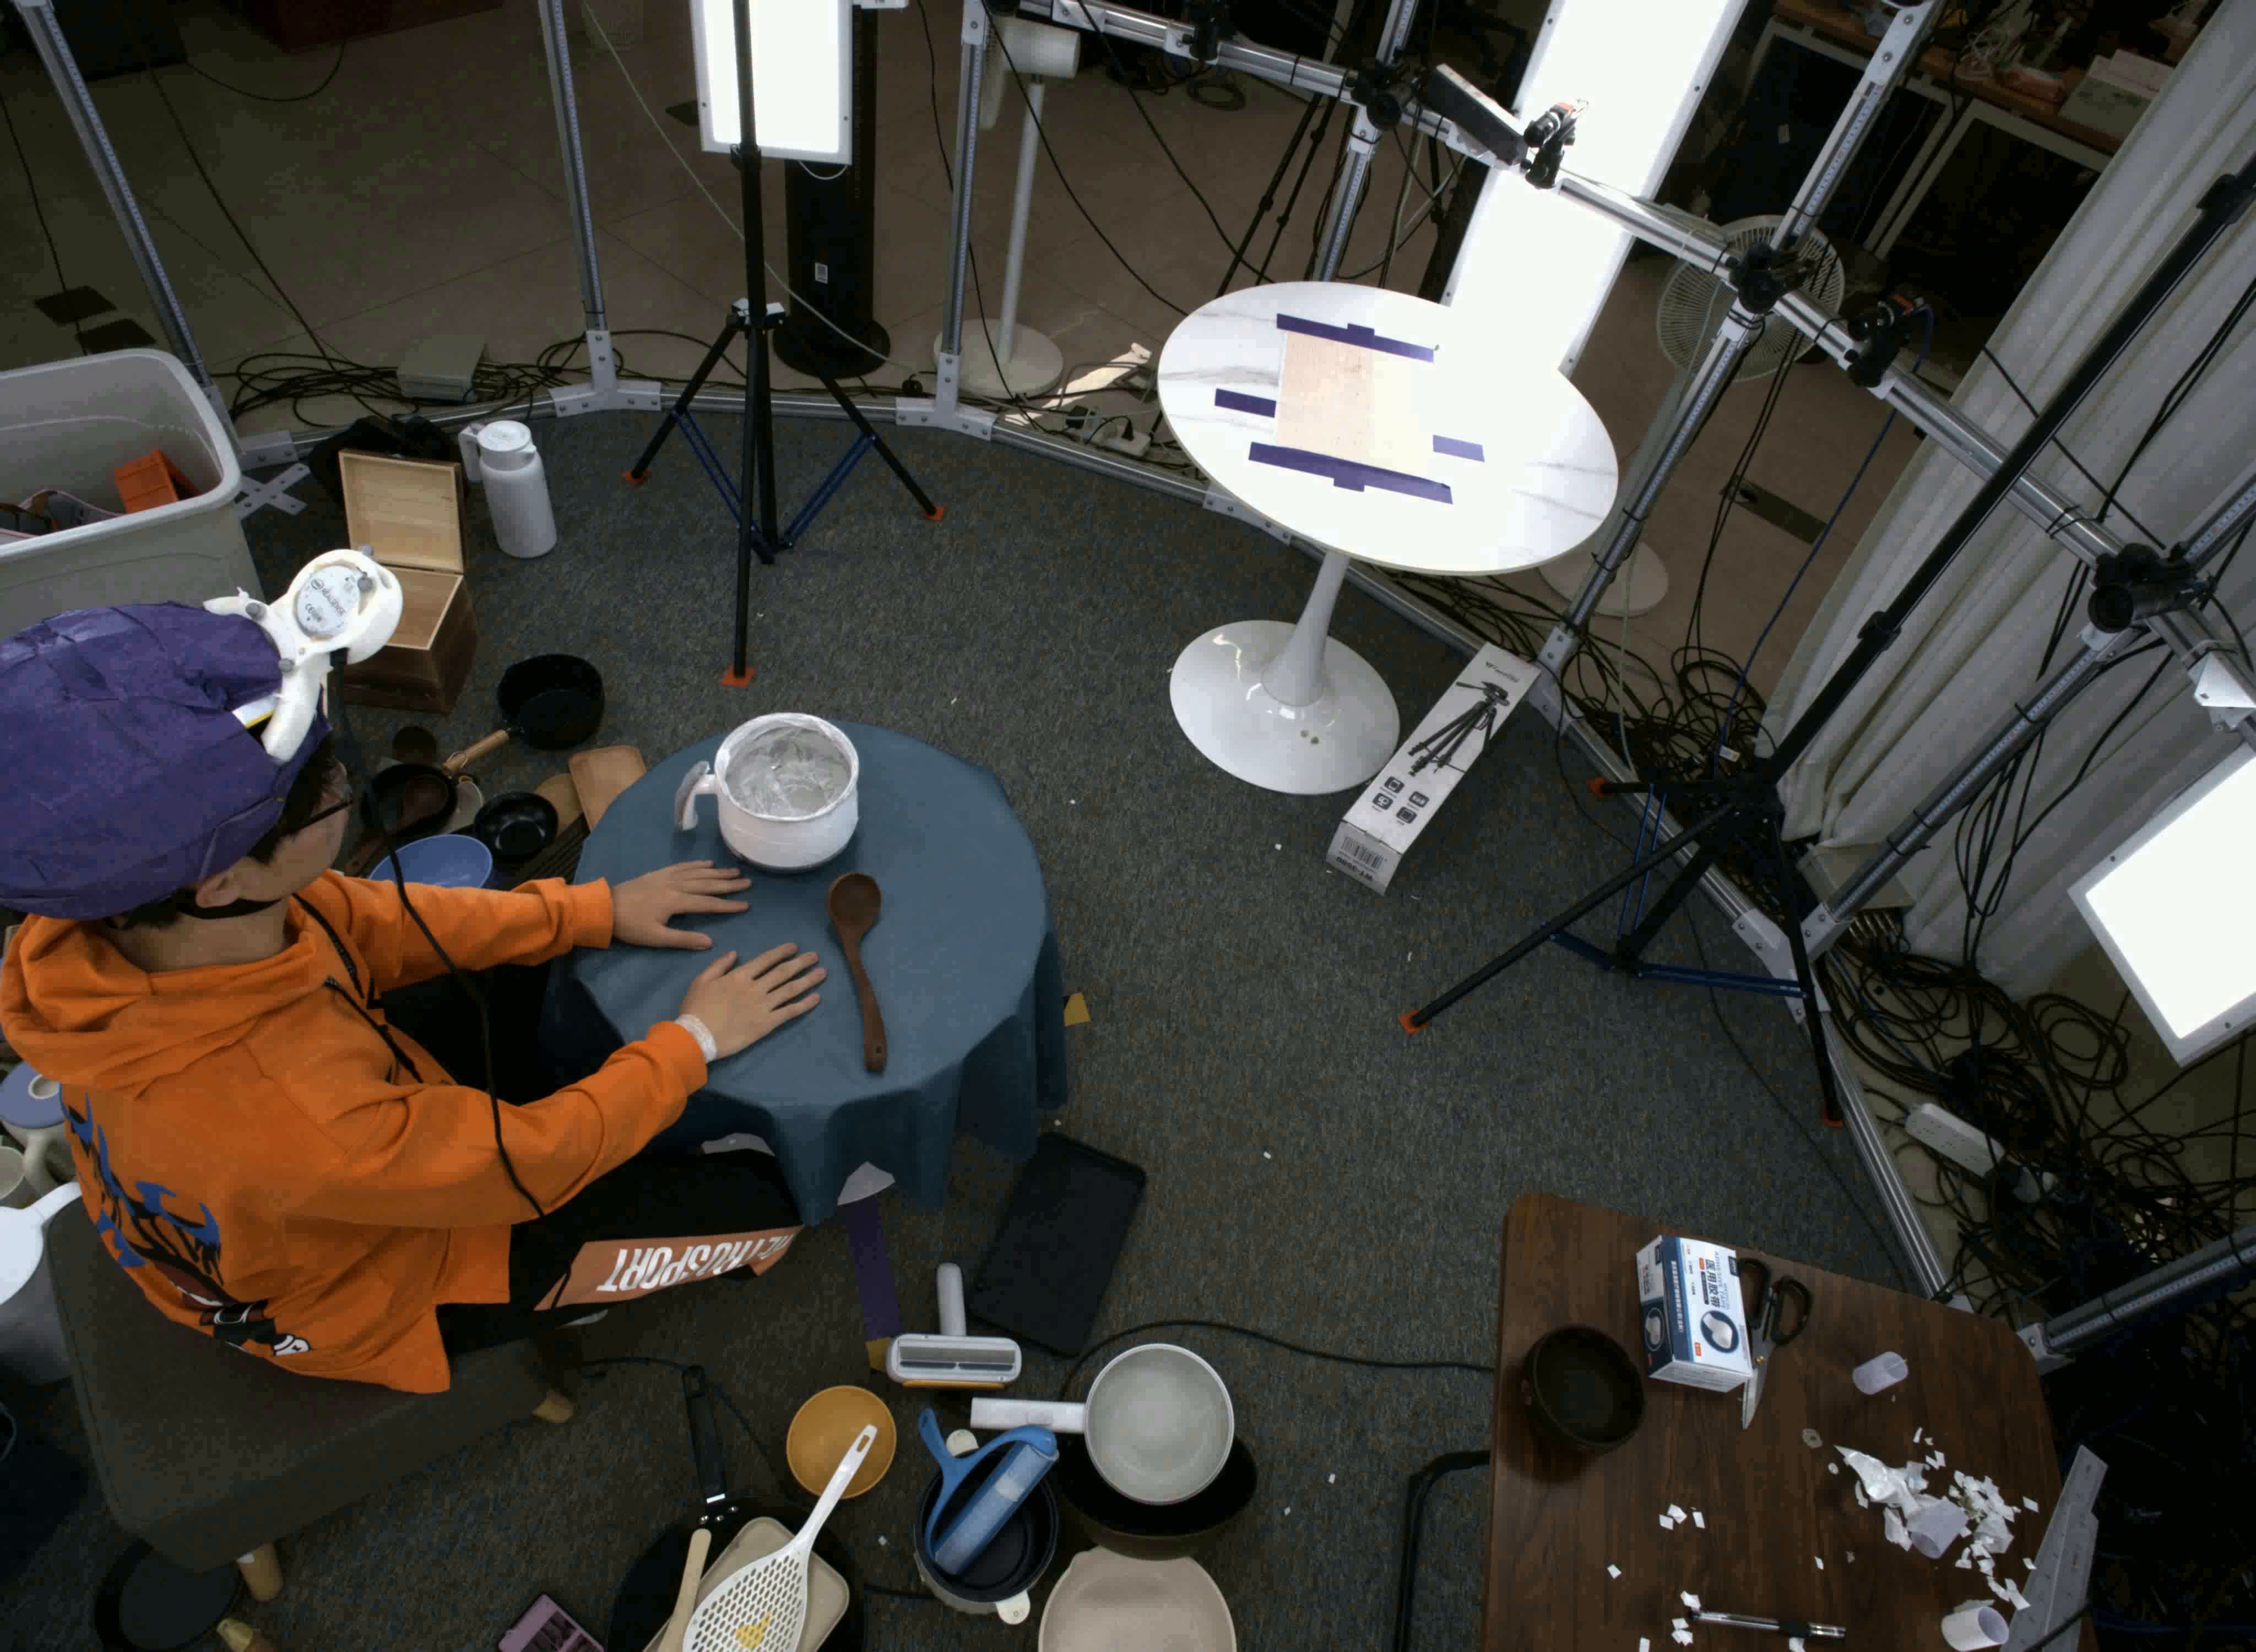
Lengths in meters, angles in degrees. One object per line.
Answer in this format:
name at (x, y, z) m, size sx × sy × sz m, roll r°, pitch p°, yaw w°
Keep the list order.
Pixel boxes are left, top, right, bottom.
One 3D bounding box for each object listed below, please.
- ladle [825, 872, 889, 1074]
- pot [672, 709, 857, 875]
ladle at (-0.316, 0.170, 1.576) m, size 0.078 × 0.065 × 0.254 m, roll 9°, pitch 47°, yaw -38°
pot at (-0.462, -0.038, 1.643) m, size 0.234 × 0.139 × 0.174 m, roll -3°, pitch 53°, yaw -16°
